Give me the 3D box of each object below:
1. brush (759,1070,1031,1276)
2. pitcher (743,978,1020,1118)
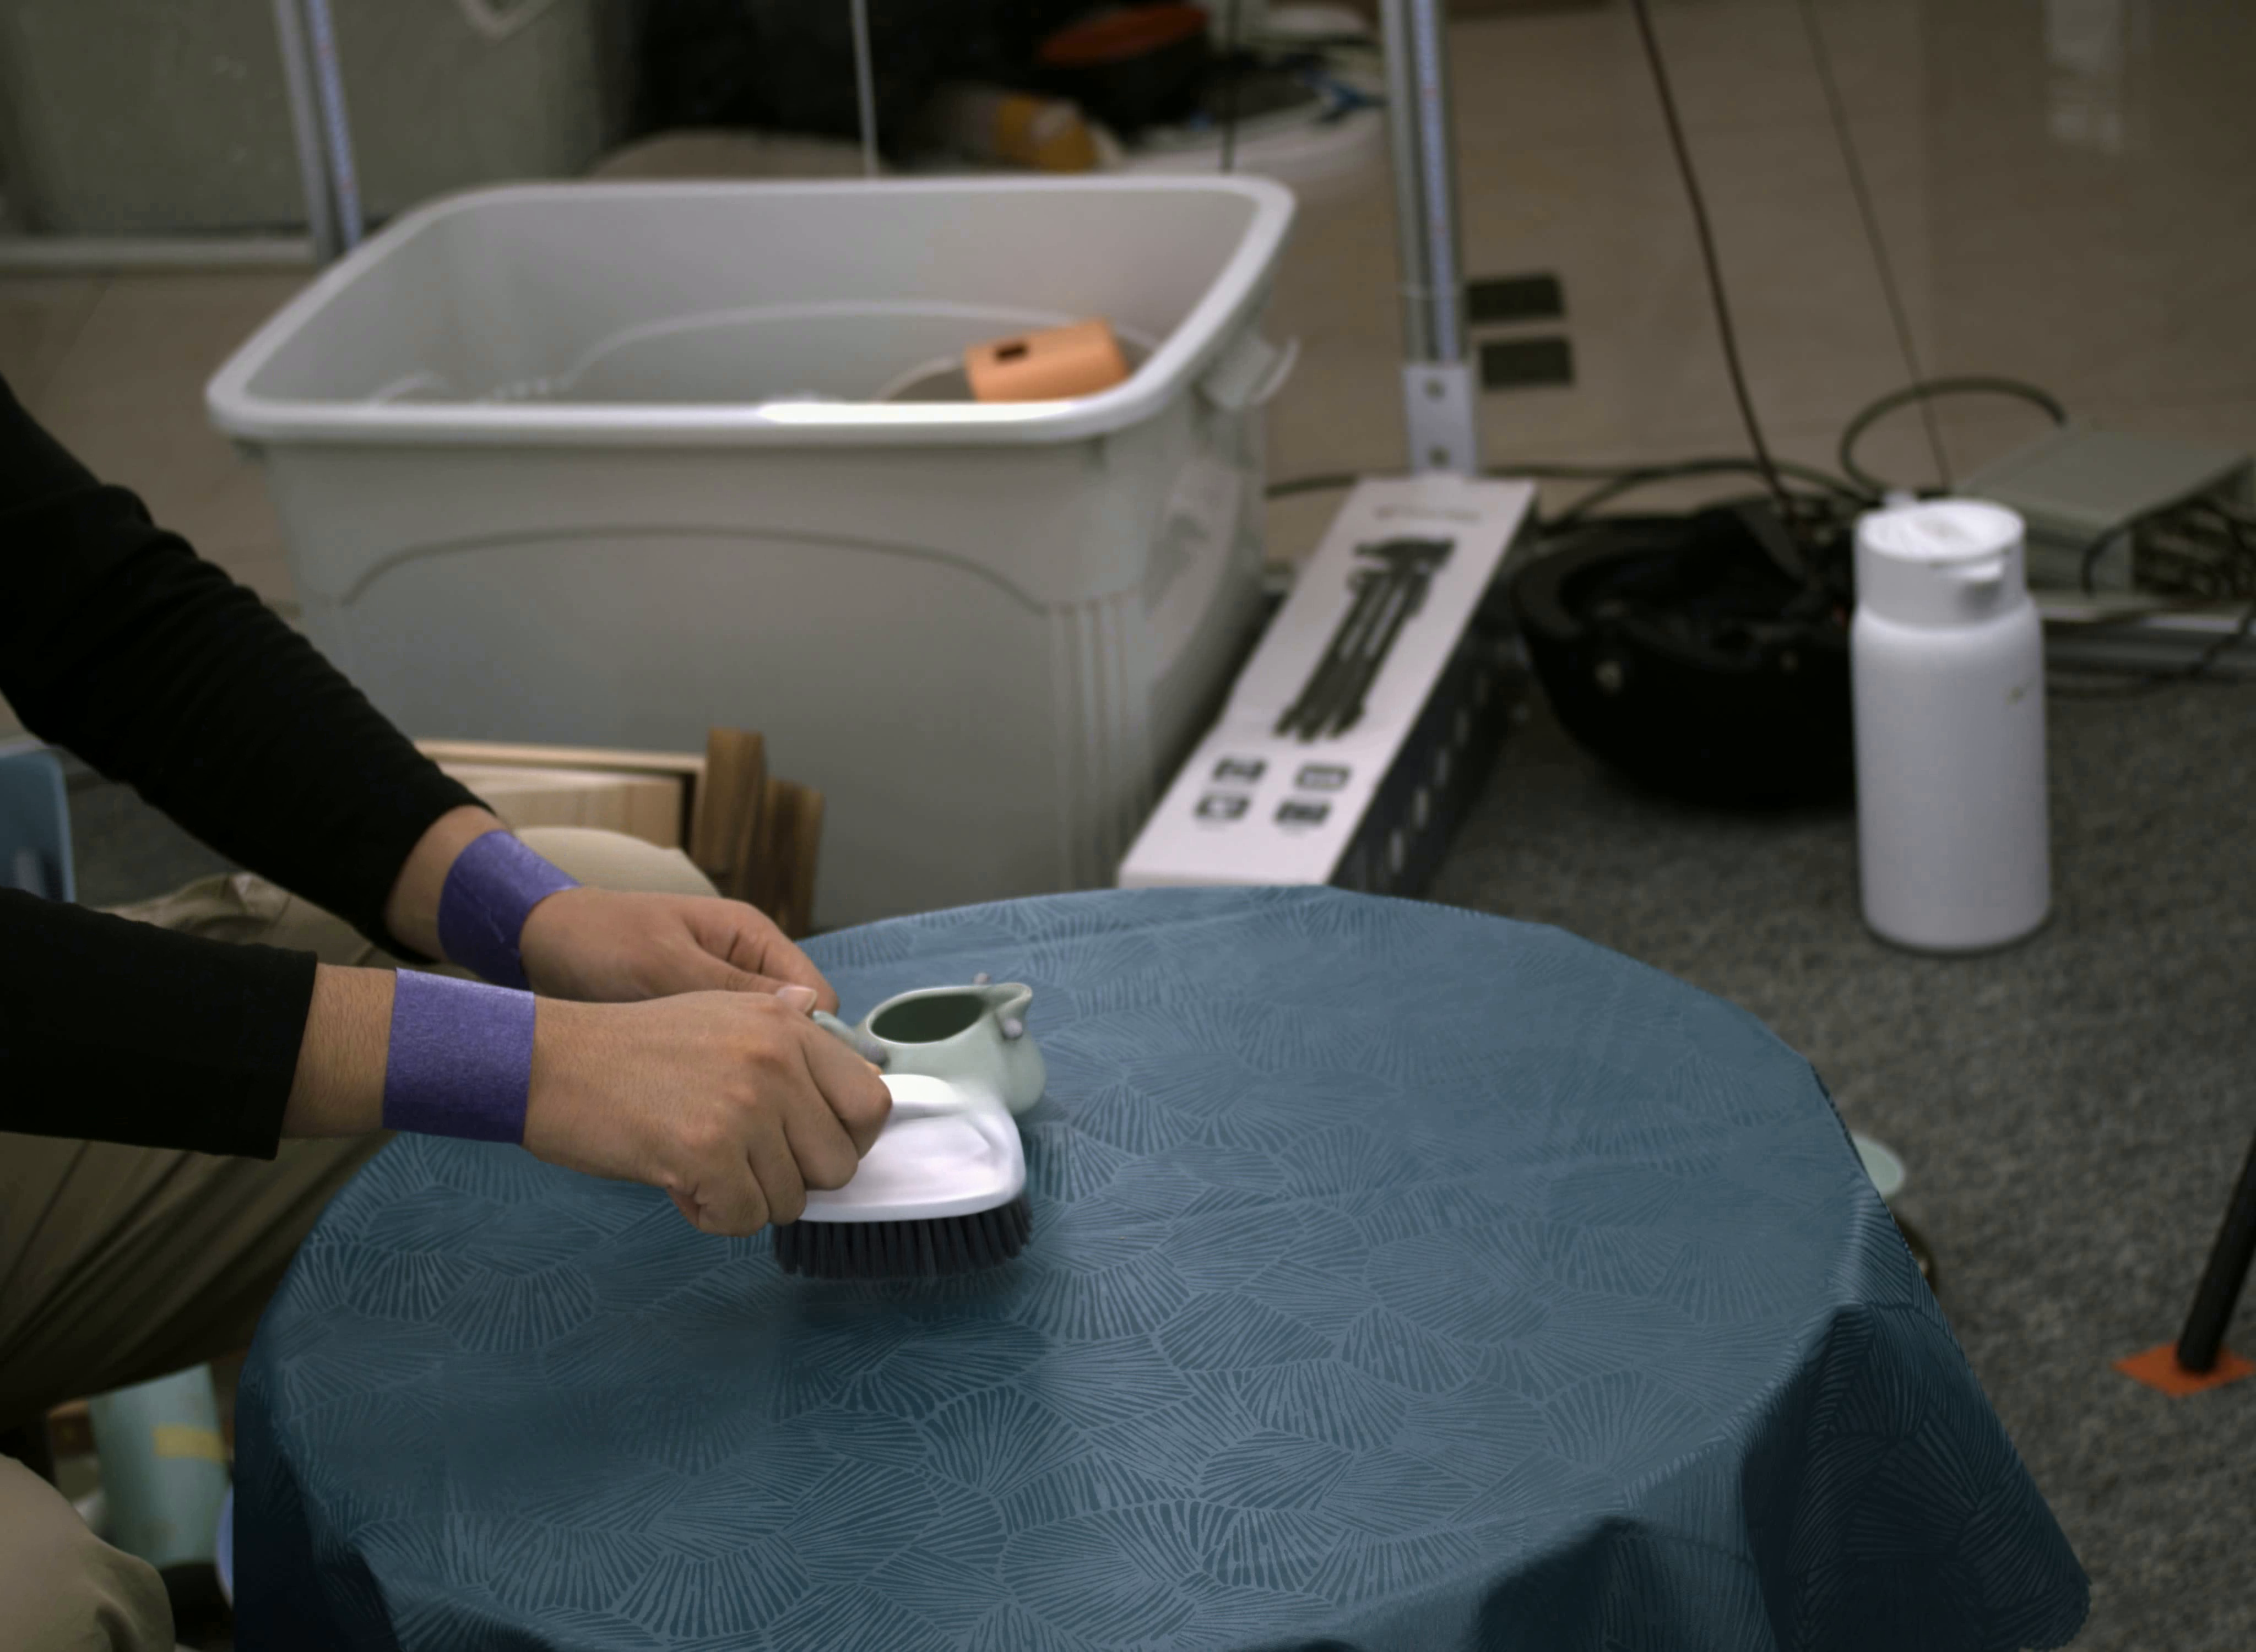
[{"bbox_3d":[-0.087,0.121,2.073,0.099,0.074,0.049,0,38,7],"label":"brush"},{"bbox_3d":[-0.097,0.093,2.193,0.108,0.061,0.084,13,38,1],"label":"pitcher"}]
